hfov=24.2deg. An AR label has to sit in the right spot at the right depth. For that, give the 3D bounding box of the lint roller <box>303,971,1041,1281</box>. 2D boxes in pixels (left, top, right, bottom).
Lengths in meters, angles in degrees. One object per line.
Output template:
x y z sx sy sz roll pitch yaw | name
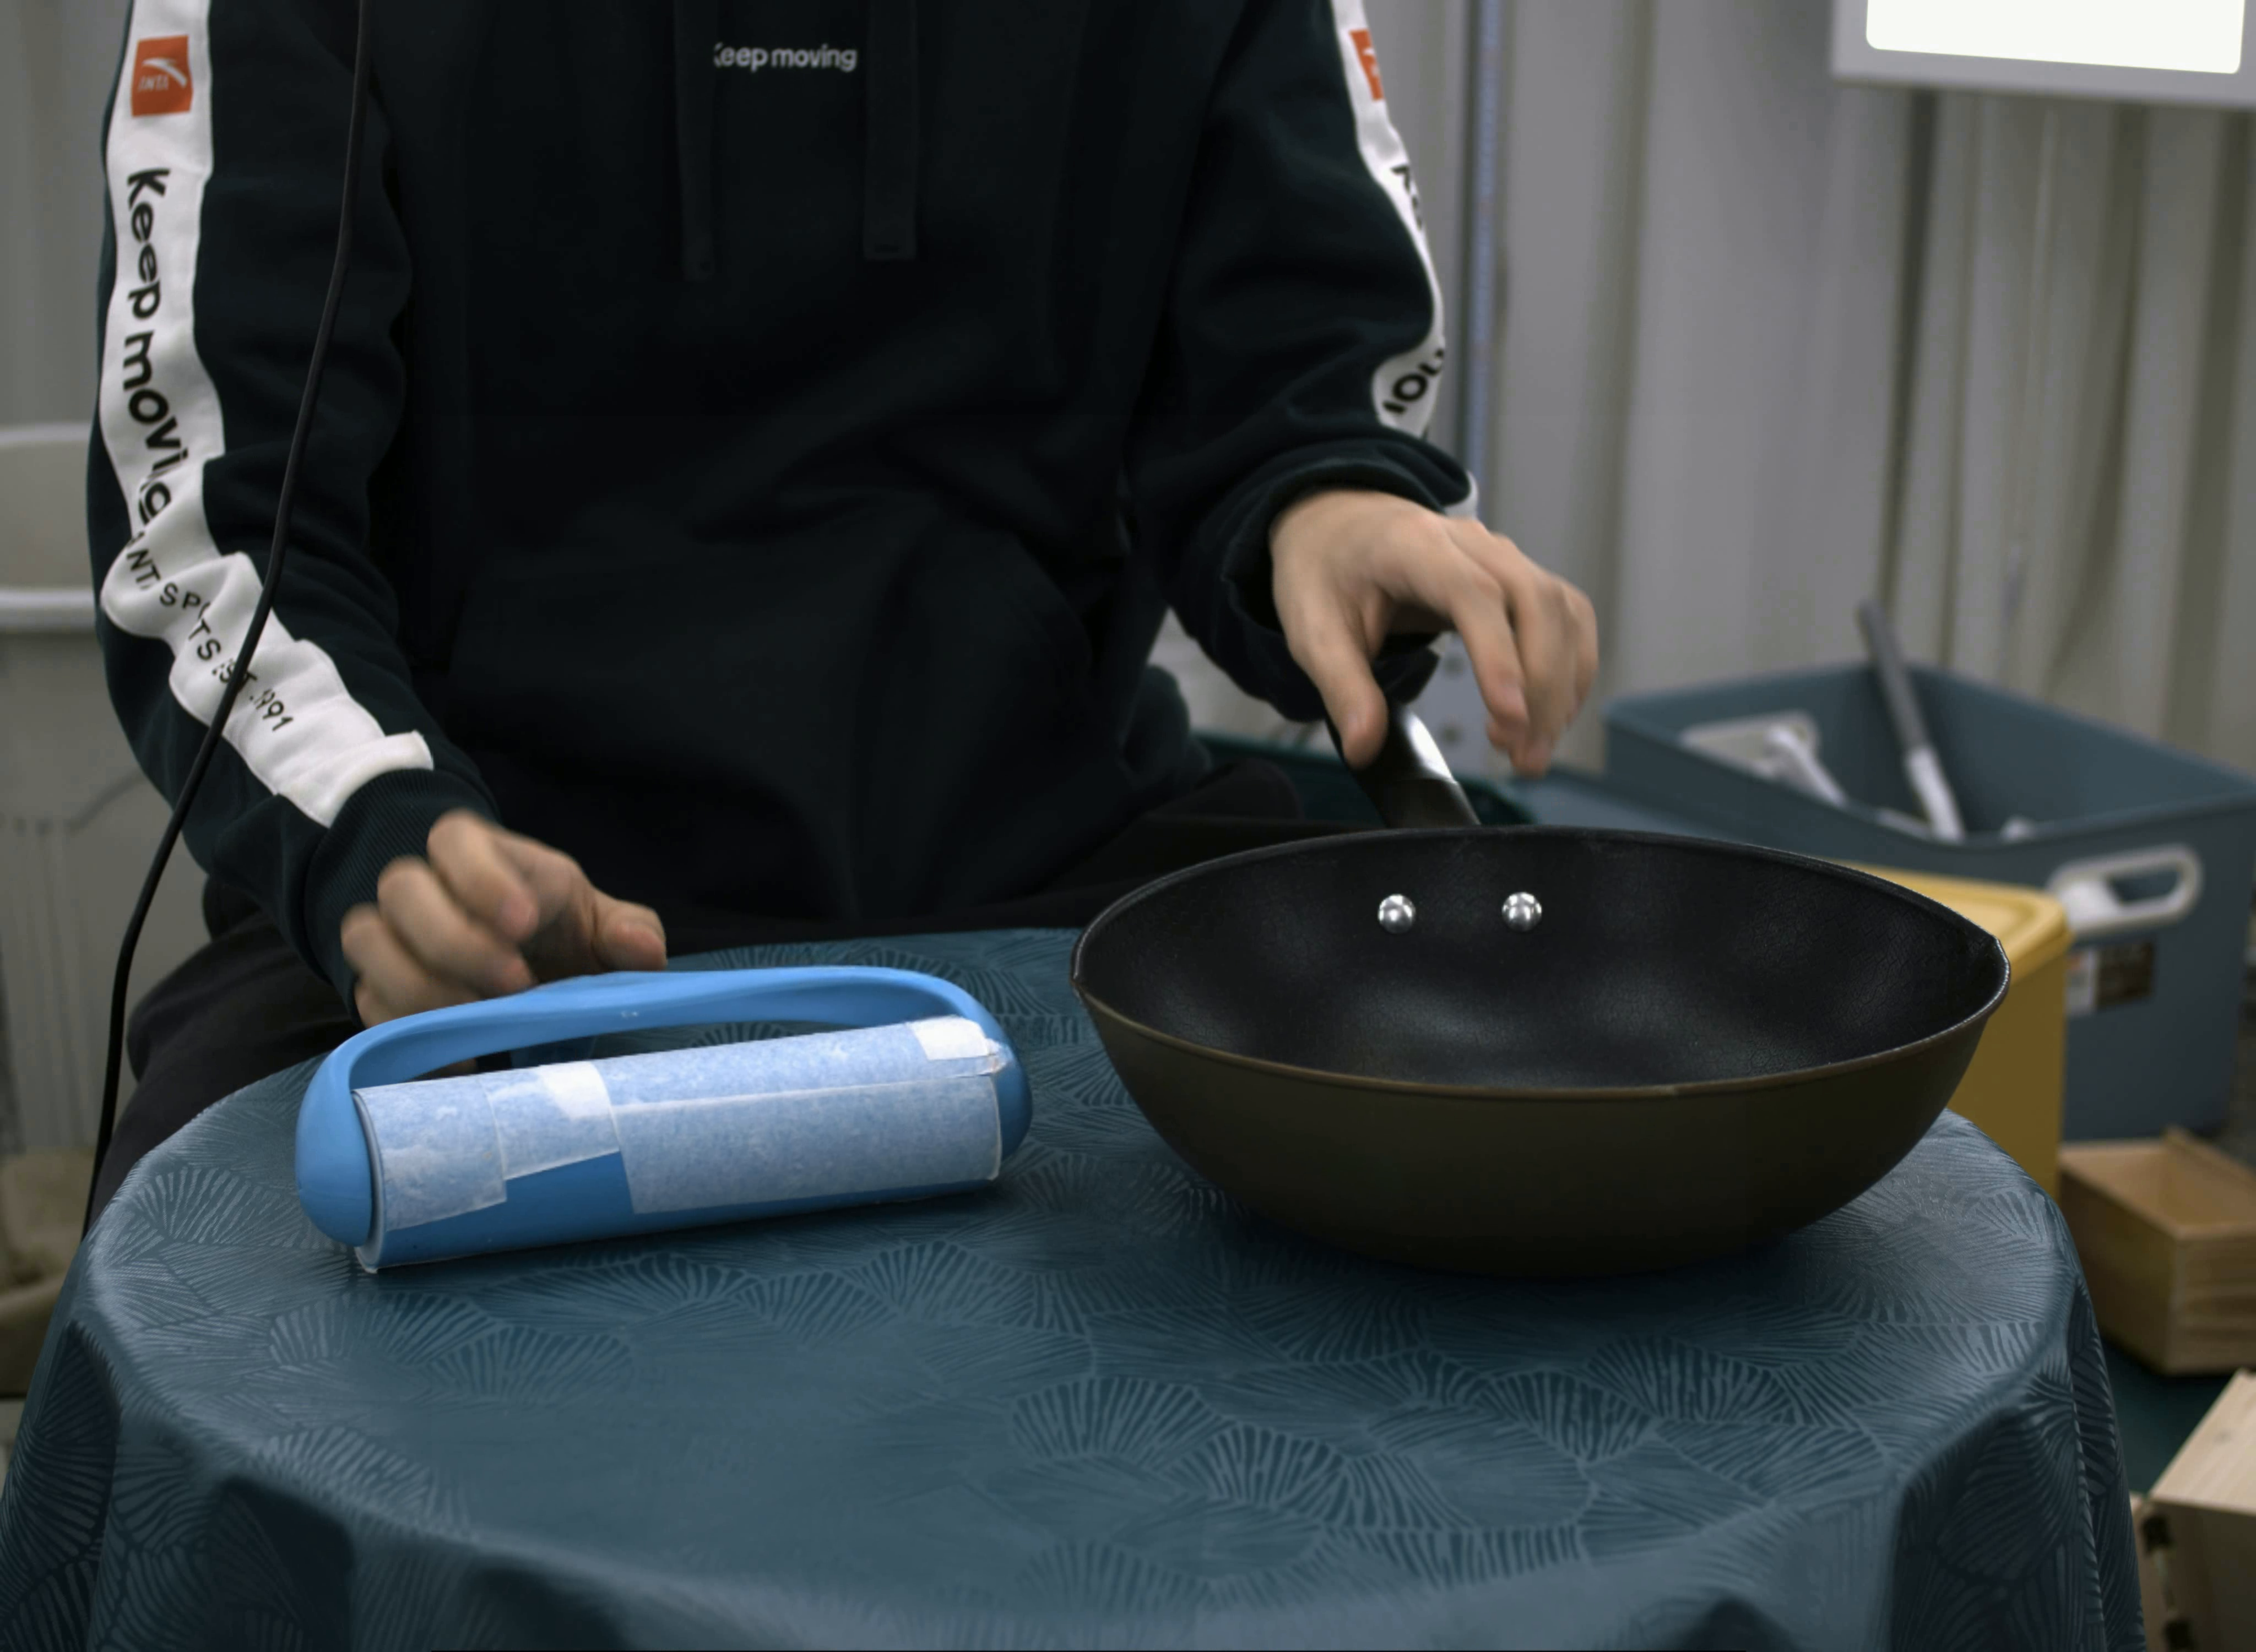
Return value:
-0.159 0.080 1.627 0.229 0.068 0.178 -9 19 -24 | lint roller

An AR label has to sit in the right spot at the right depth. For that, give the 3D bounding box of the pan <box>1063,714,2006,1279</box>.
0.112 0.052 1.688 0.288 0.087 0.460 -1 15 -7 | pan
